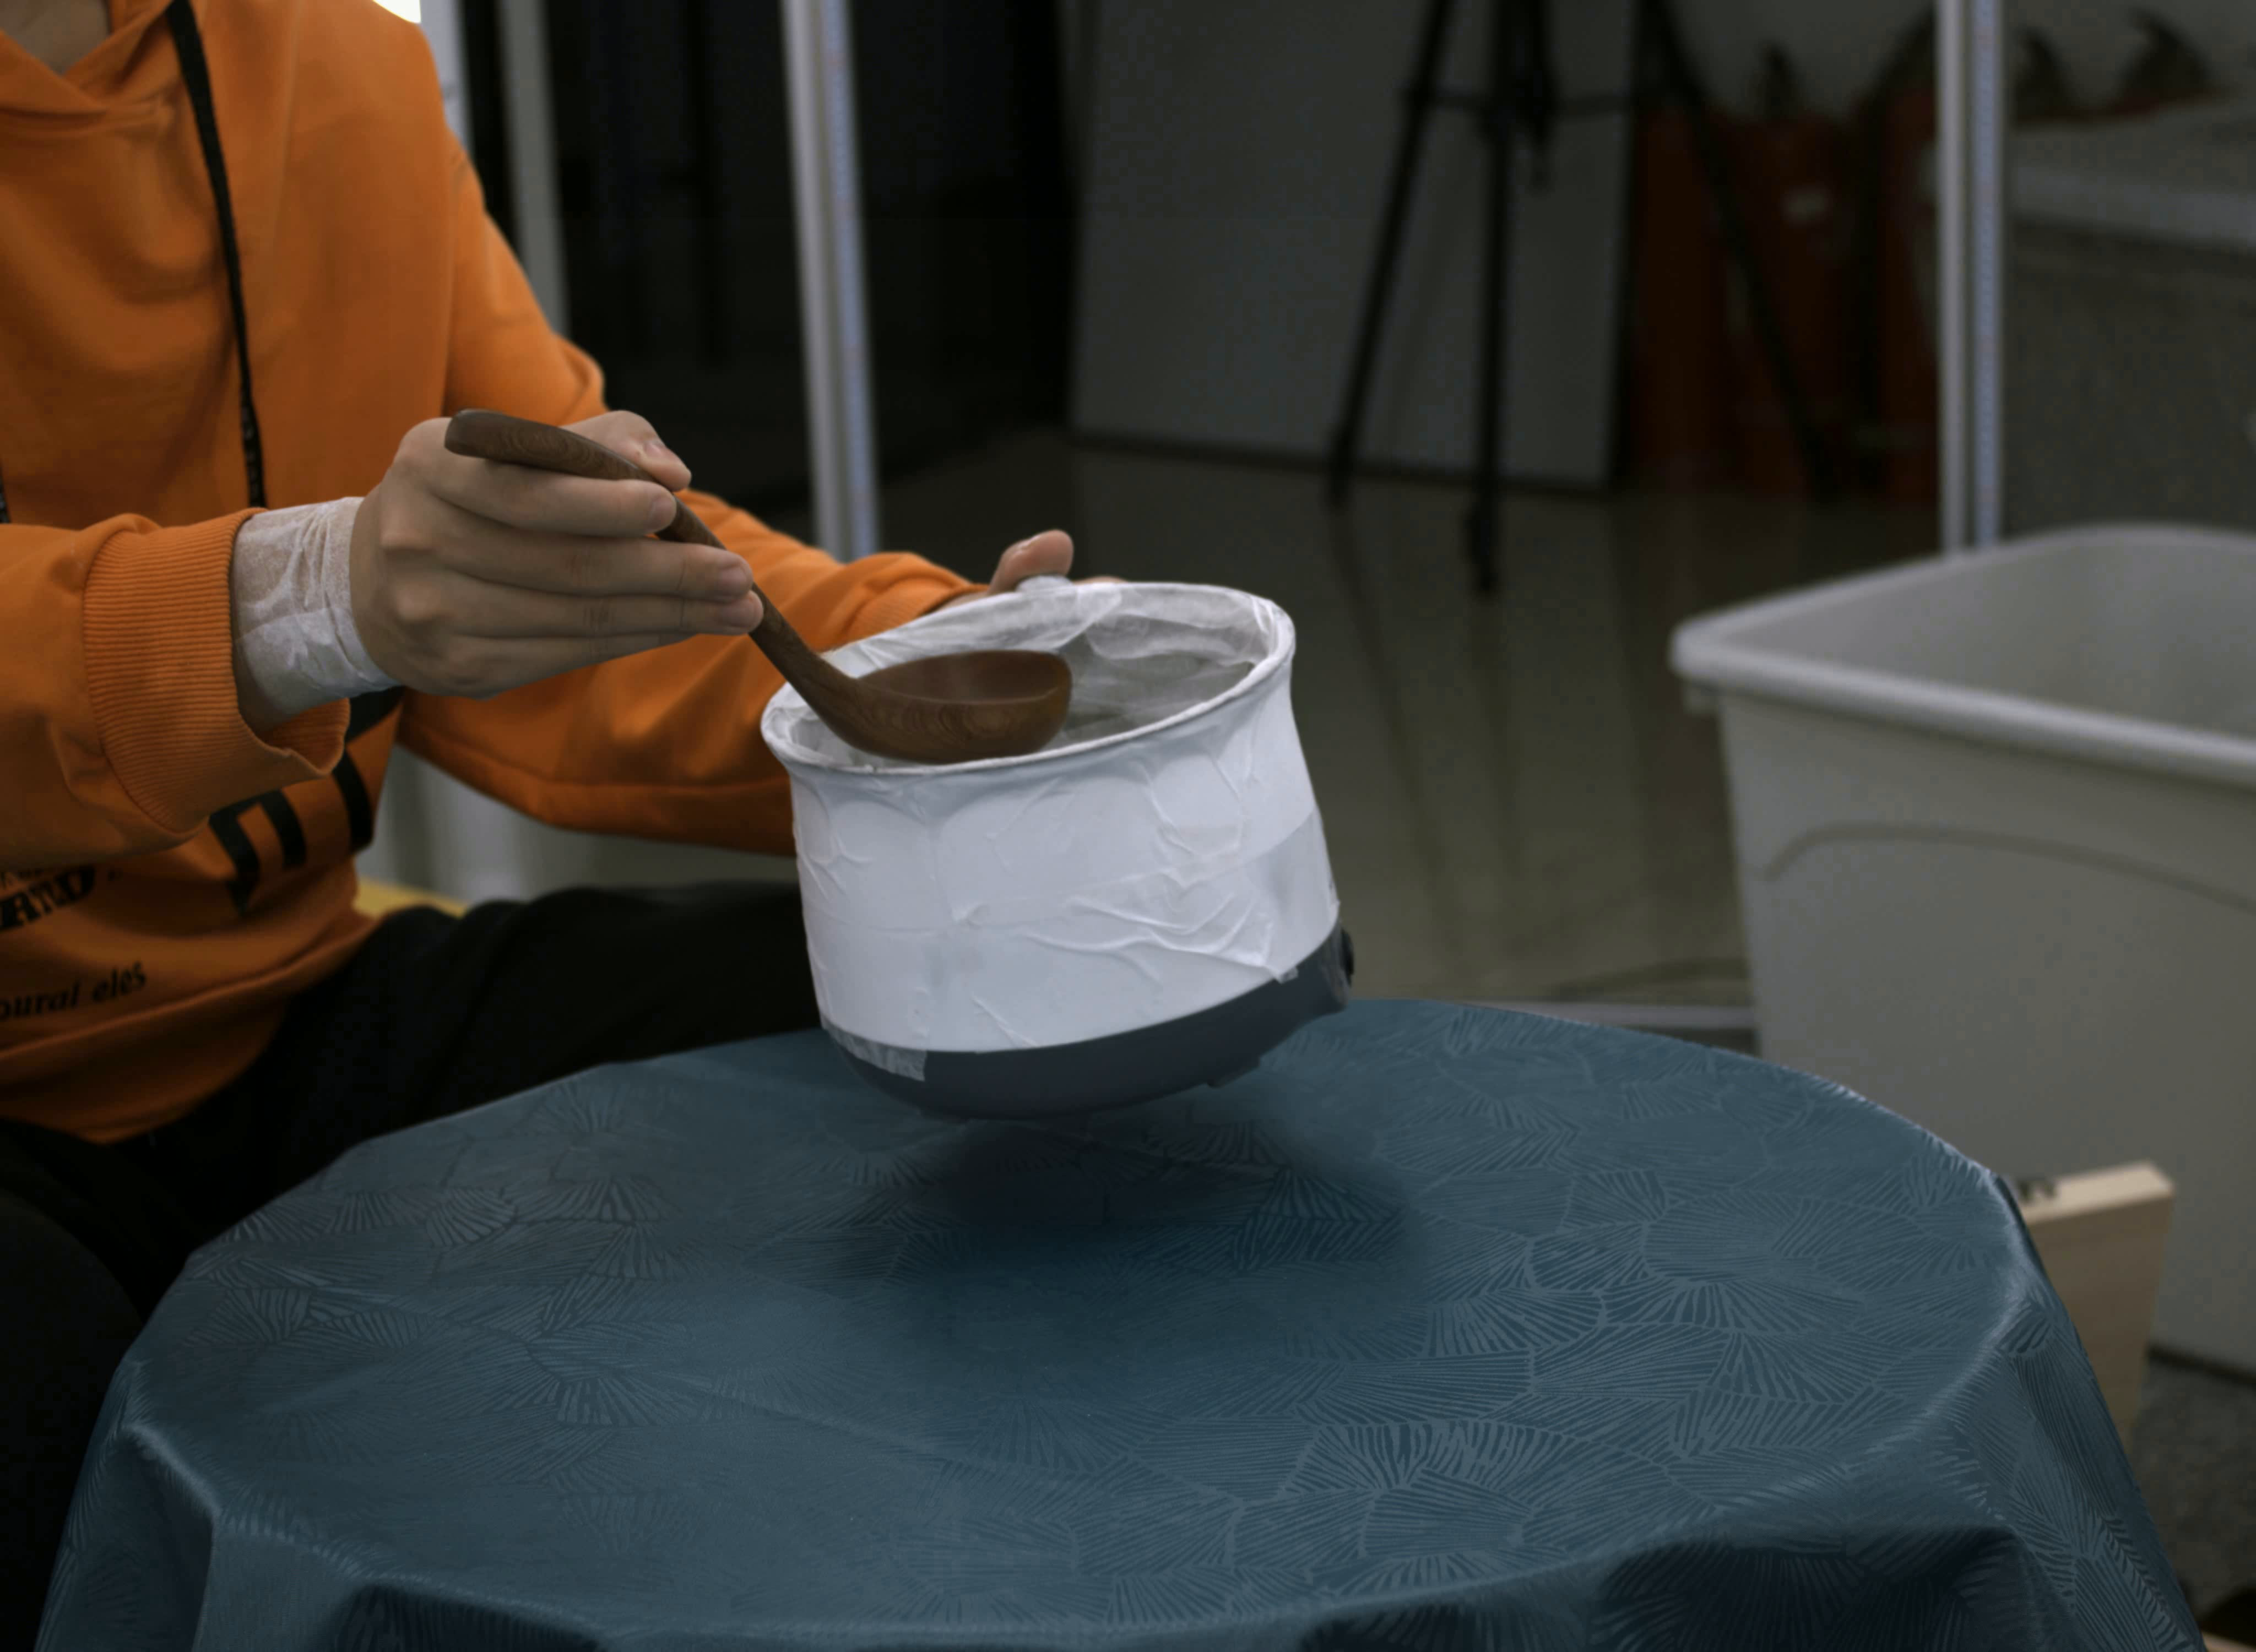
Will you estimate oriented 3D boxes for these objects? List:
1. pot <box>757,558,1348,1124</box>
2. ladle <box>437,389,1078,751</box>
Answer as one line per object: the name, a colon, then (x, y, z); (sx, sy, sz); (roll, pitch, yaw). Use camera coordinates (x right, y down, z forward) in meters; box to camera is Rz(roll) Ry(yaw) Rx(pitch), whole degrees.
pot: (-0.023, -0.002, 1.786); (0.177, 0.138, 0.234); (-9, 19, 4)
ladle: (-0.111, -0.085, 1.654); (0.077, 0.065, 0.256); (2, -26, 44)
